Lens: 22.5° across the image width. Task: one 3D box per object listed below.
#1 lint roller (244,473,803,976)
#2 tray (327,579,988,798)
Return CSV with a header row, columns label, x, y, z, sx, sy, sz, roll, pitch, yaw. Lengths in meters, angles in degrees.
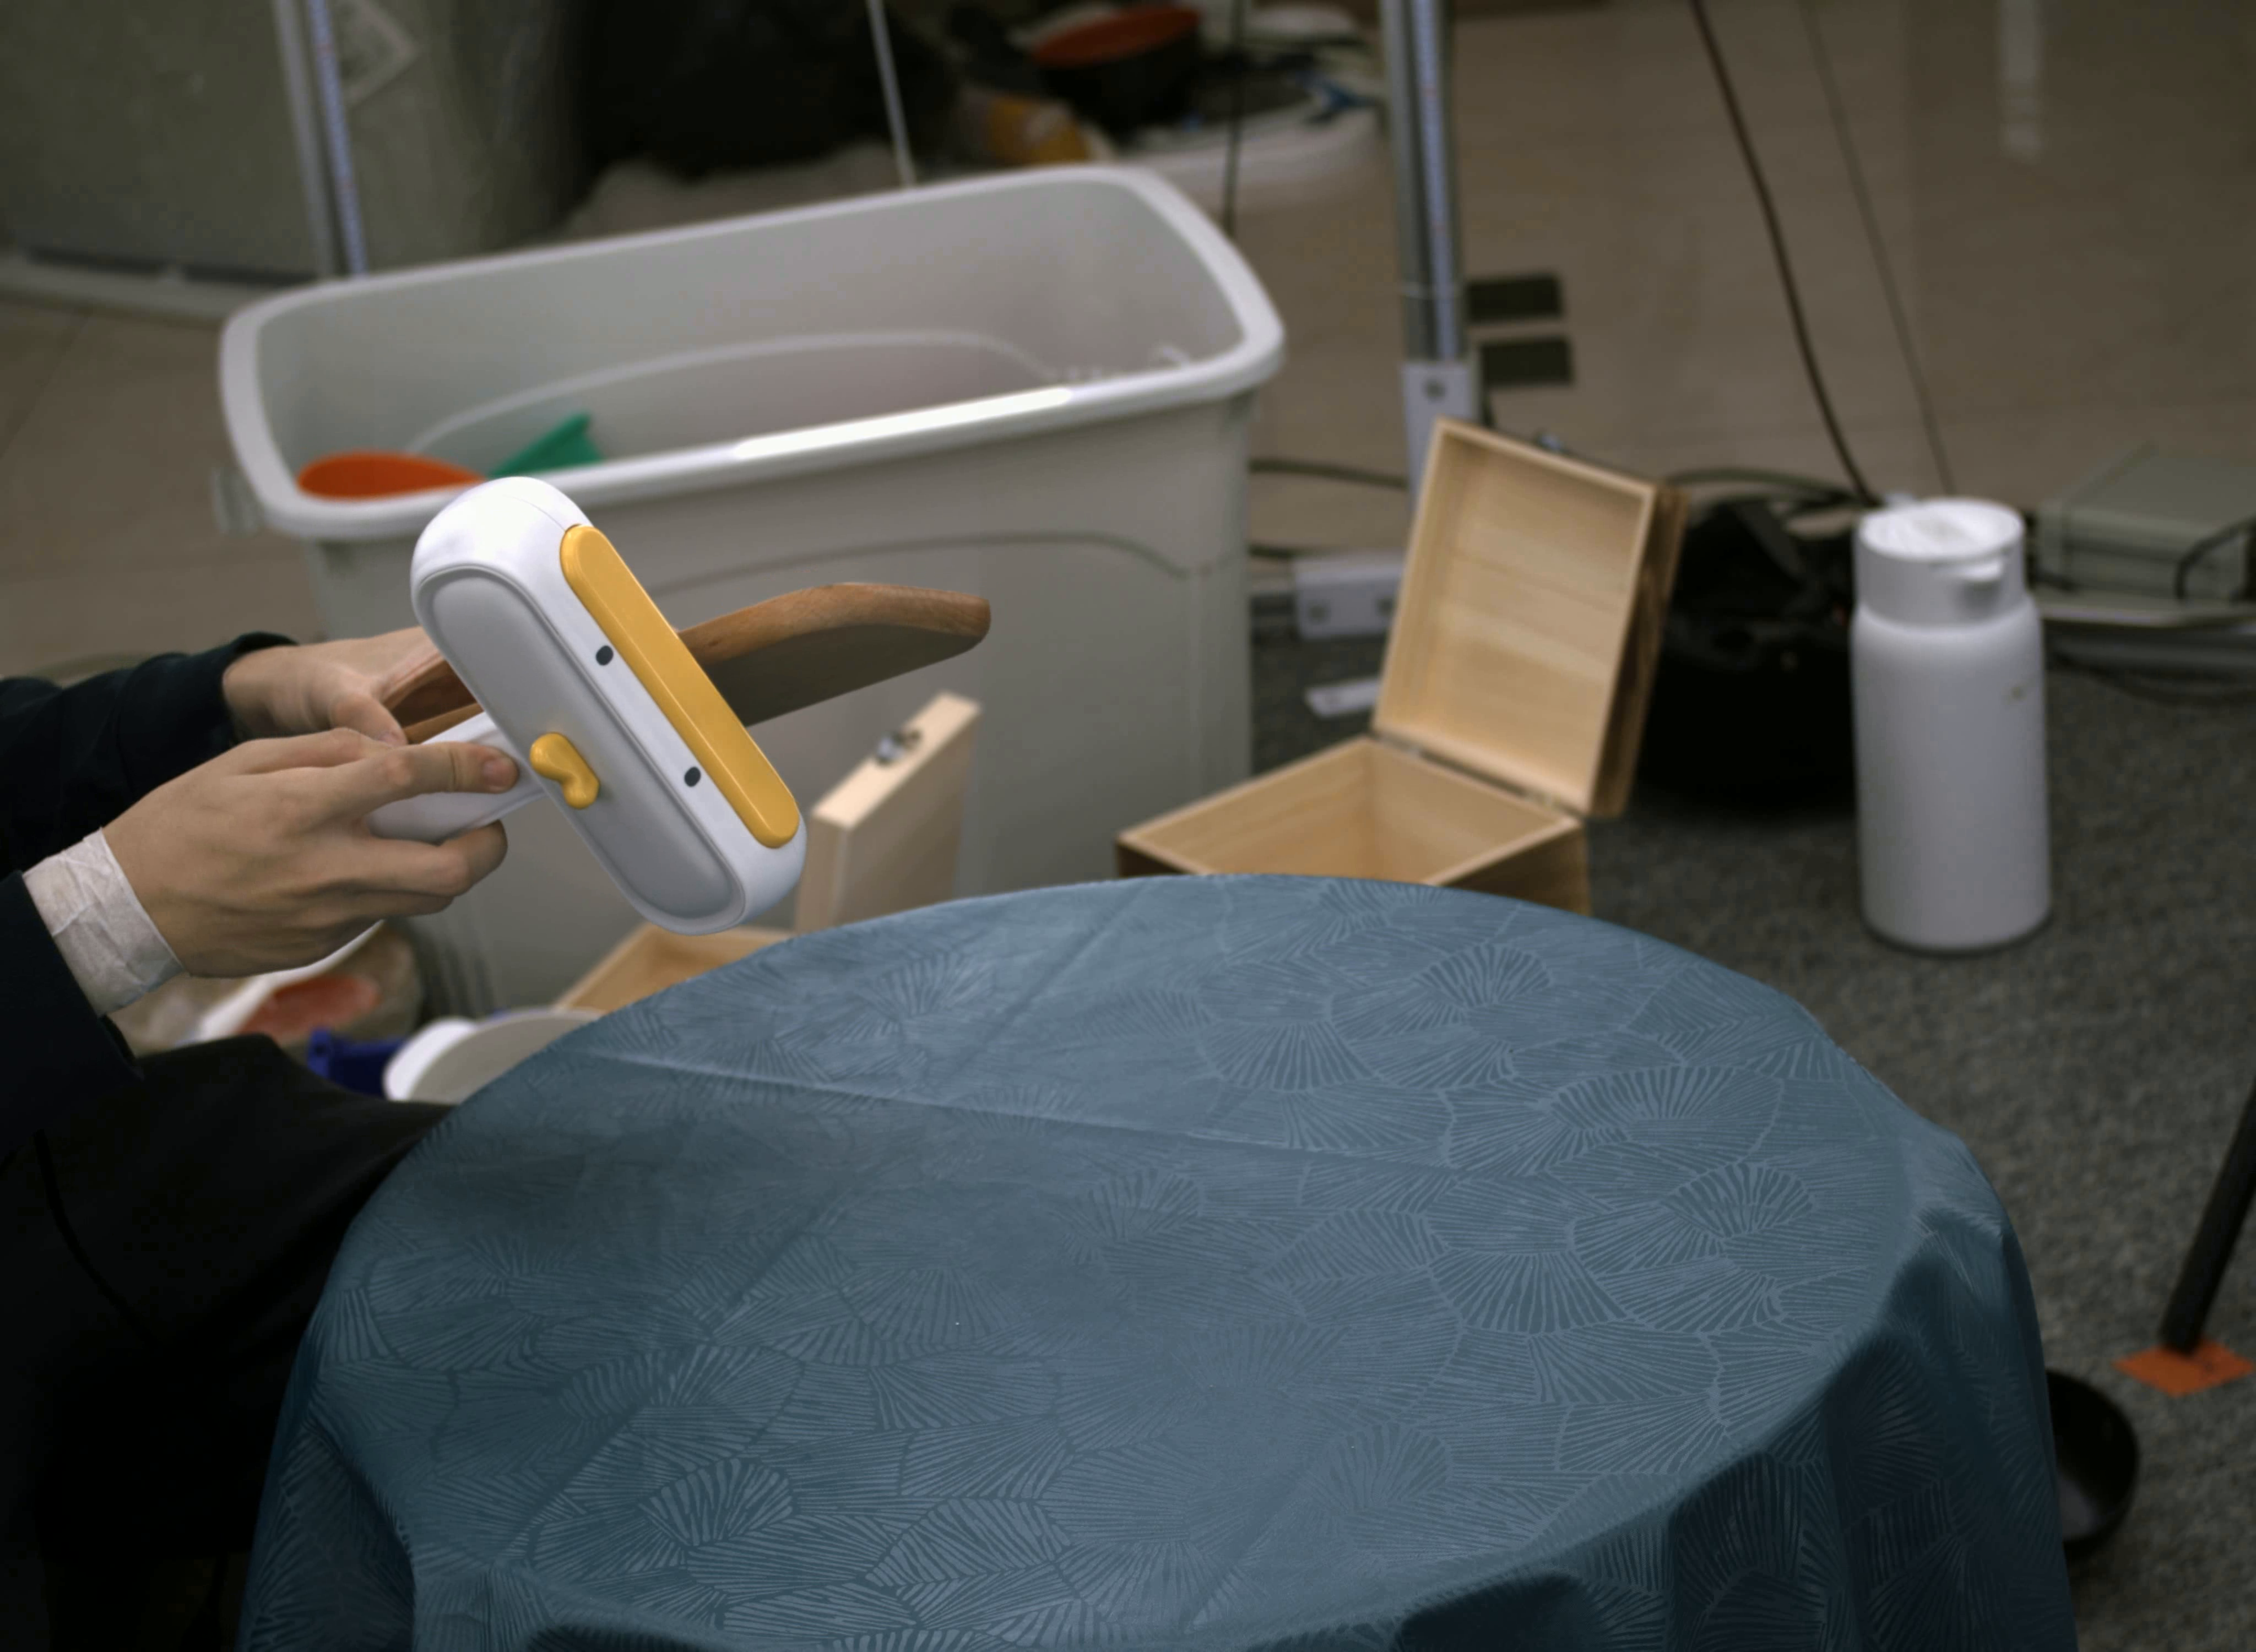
label,x,y,z,sx,sy,sz,roll,pitch,yaw
lint roller,-0.238,-0.012,2.041,0.193,0.195,0.073,-30,29,24
tray,-0.177,-0.049,2.132,0.251,0.023,0.131,-18,-14,31
